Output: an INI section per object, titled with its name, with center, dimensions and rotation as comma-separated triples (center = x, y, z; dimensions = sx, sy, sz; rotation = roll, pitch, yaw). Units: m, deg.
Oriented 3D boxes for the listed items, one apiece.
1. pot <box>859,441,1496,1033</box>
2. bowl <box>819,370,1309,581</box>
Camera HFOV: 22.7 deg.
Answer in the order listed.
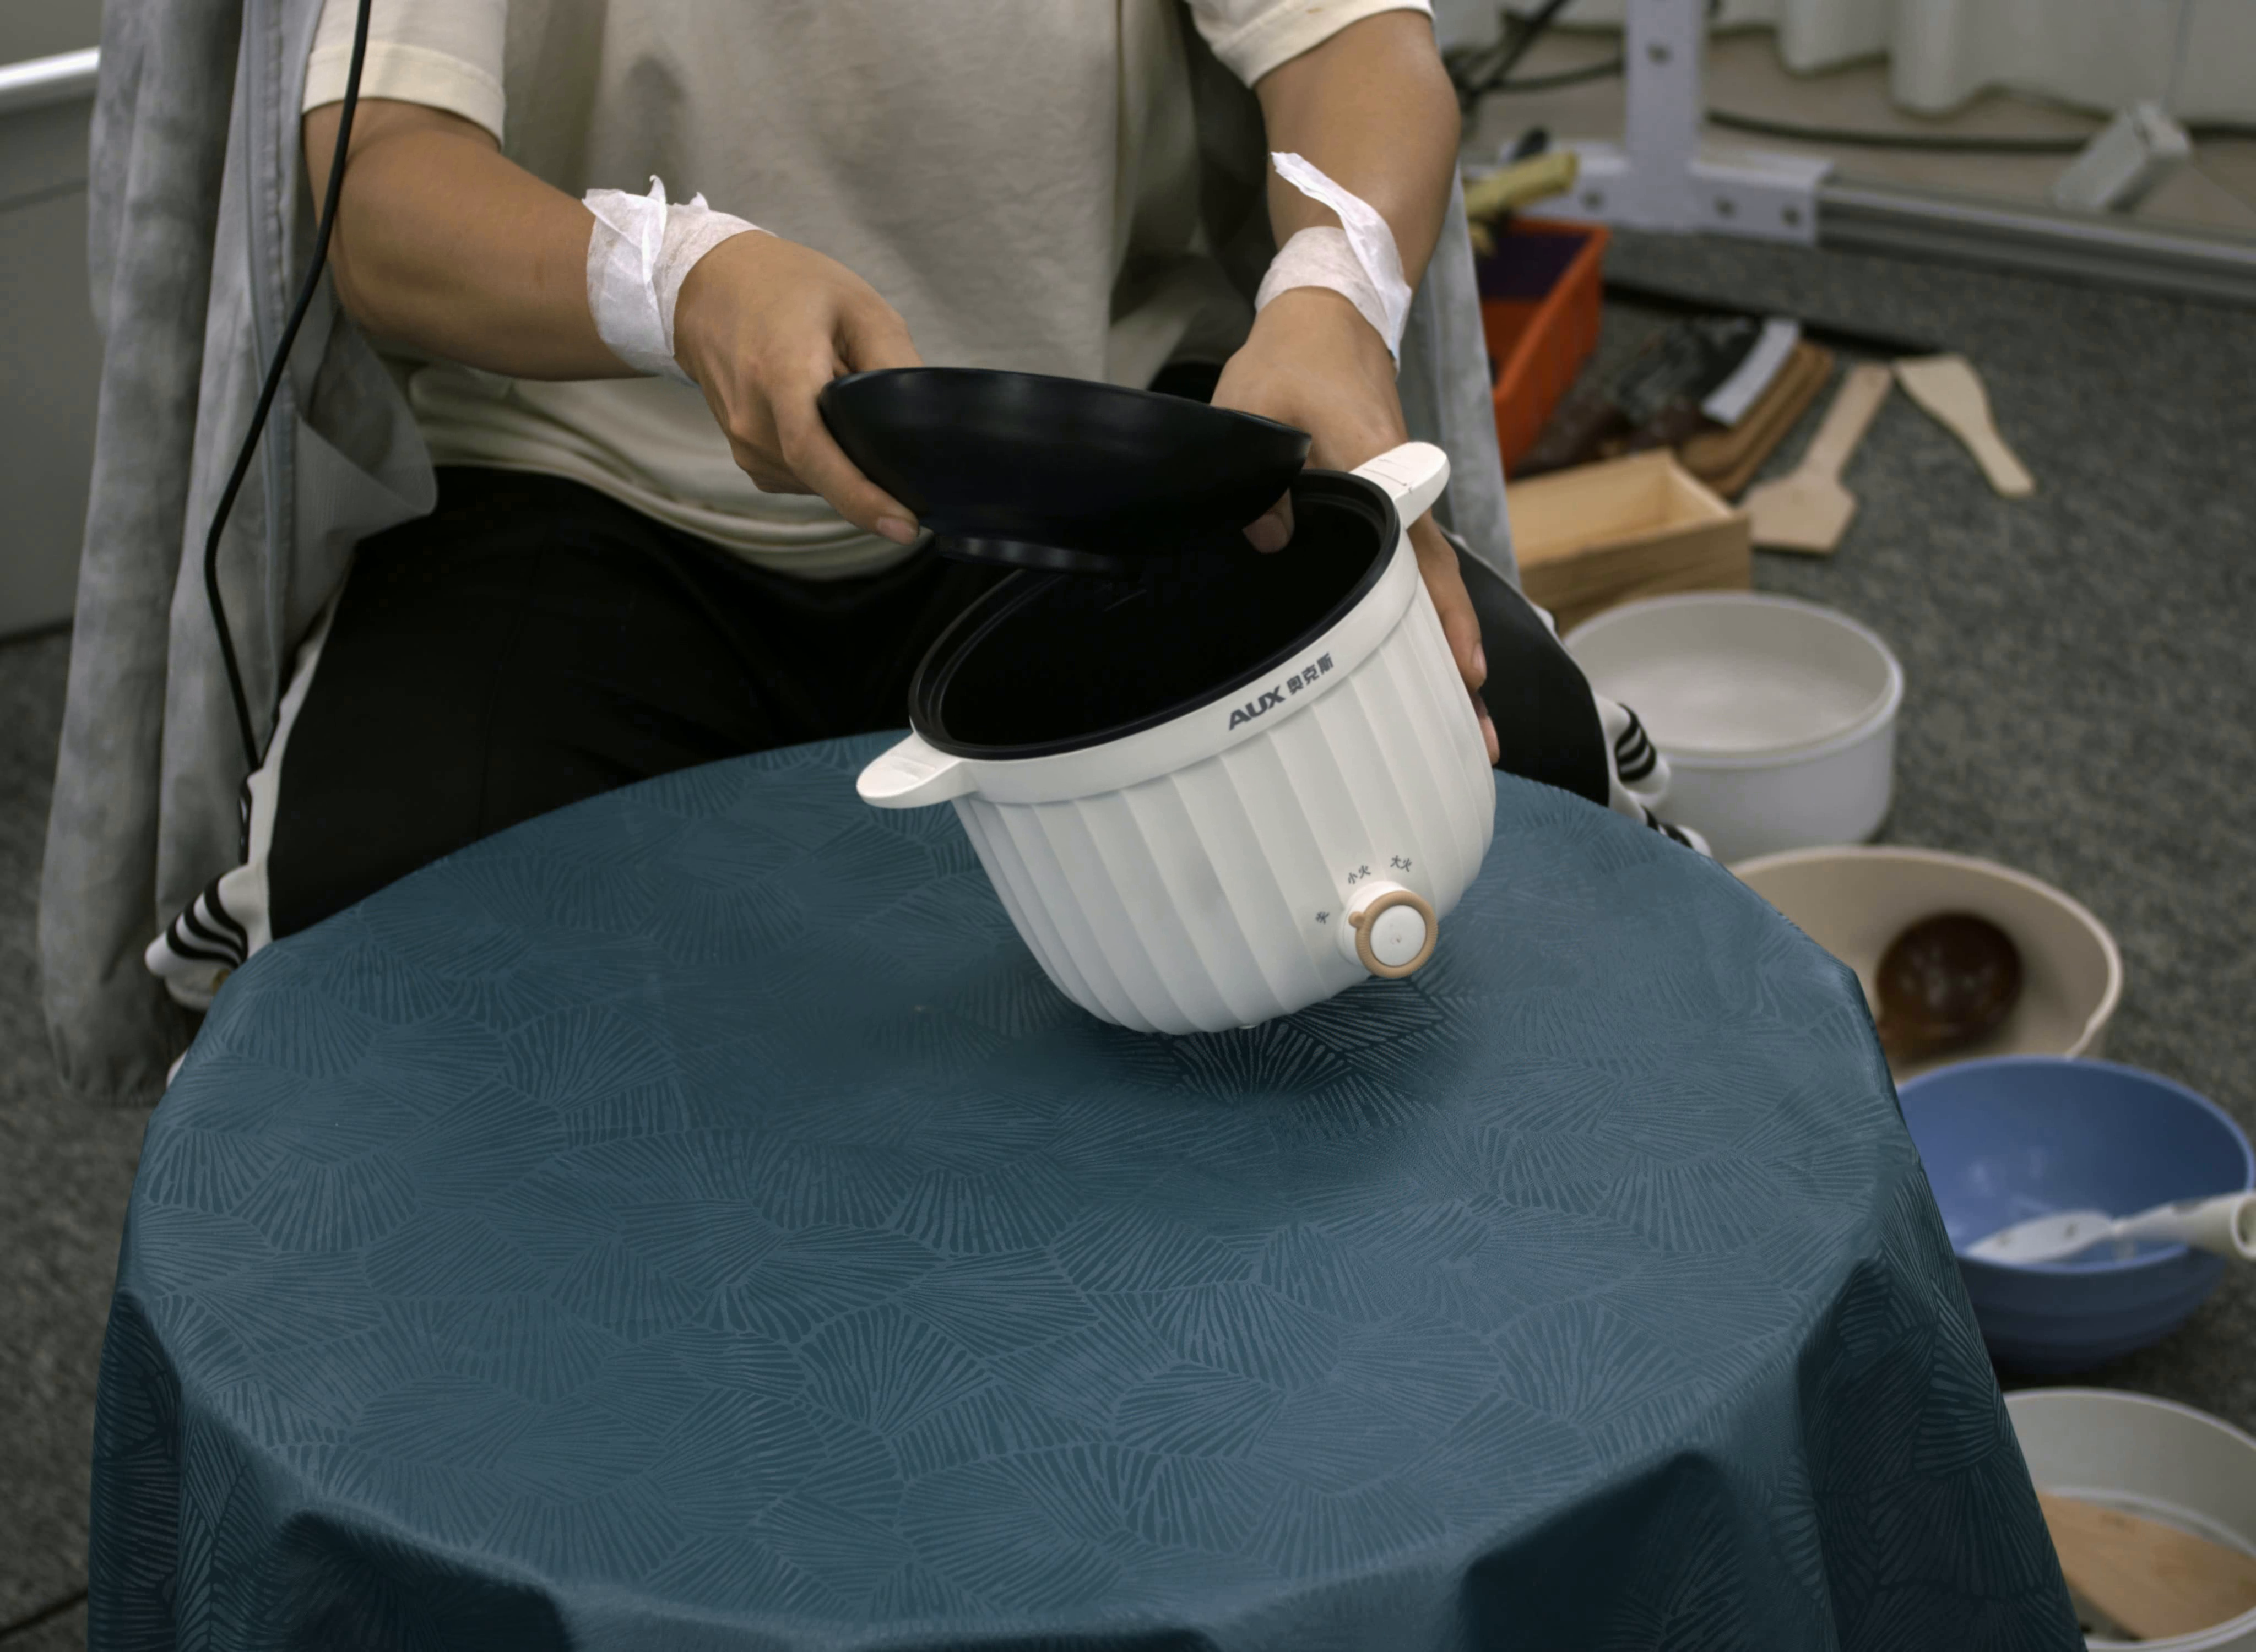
[pot]
center = 0.036, -0.020, 1.938
dimensions = 0.242, 0.142, 0.190
rotation = -32, 21, -17
[bowl]
center = -0.025, -0.118, 1.899
dimensions = 0.169, 0.067, 0.137
rotation = 7, 1, 12
